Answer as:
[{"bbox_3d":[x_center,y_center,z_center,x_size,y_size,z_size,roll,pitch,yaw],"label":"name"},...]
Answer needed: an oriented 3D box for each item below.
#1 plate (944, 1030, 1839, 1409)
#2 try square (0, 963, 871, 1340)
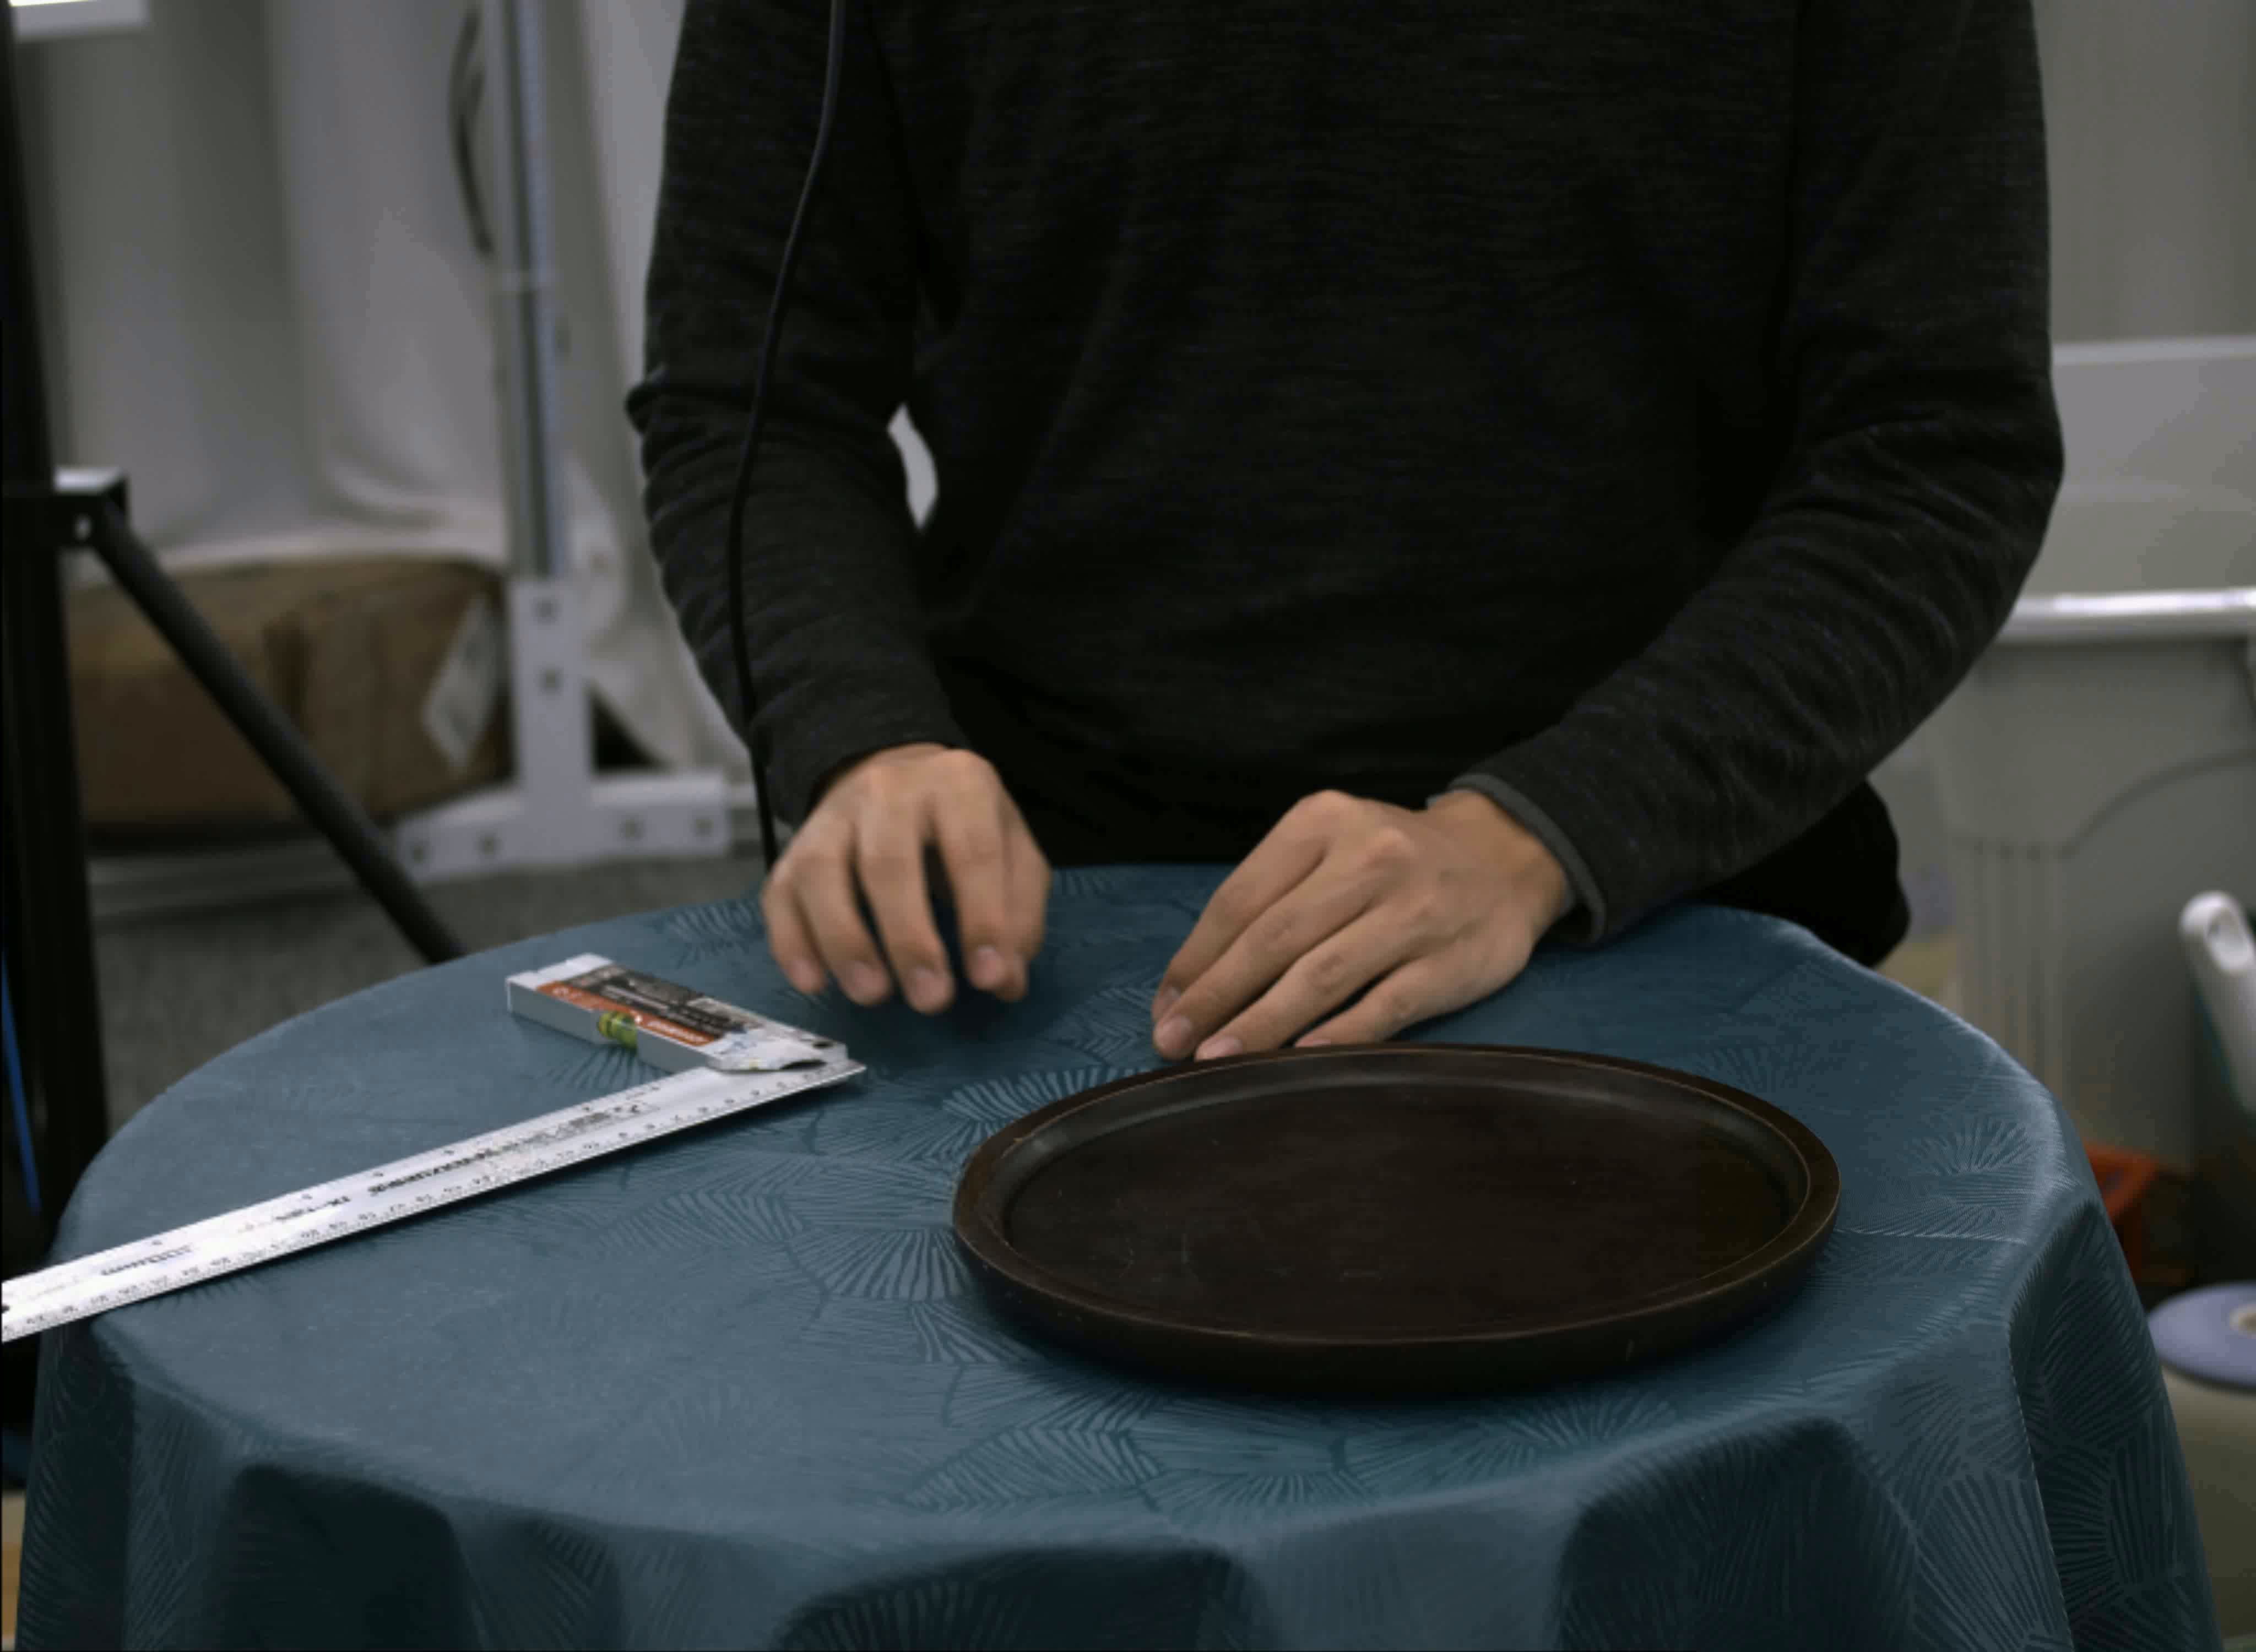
[{"bbox_3d":[0.074,0.110,1.495,0.253,0.029,0.256,-4,16,0],"label":"plate"},{"bbox_3d":[-0.243,0.096,1.628,0.306,0.016,0.156,-16,19,-36],"label":"try square"}]
